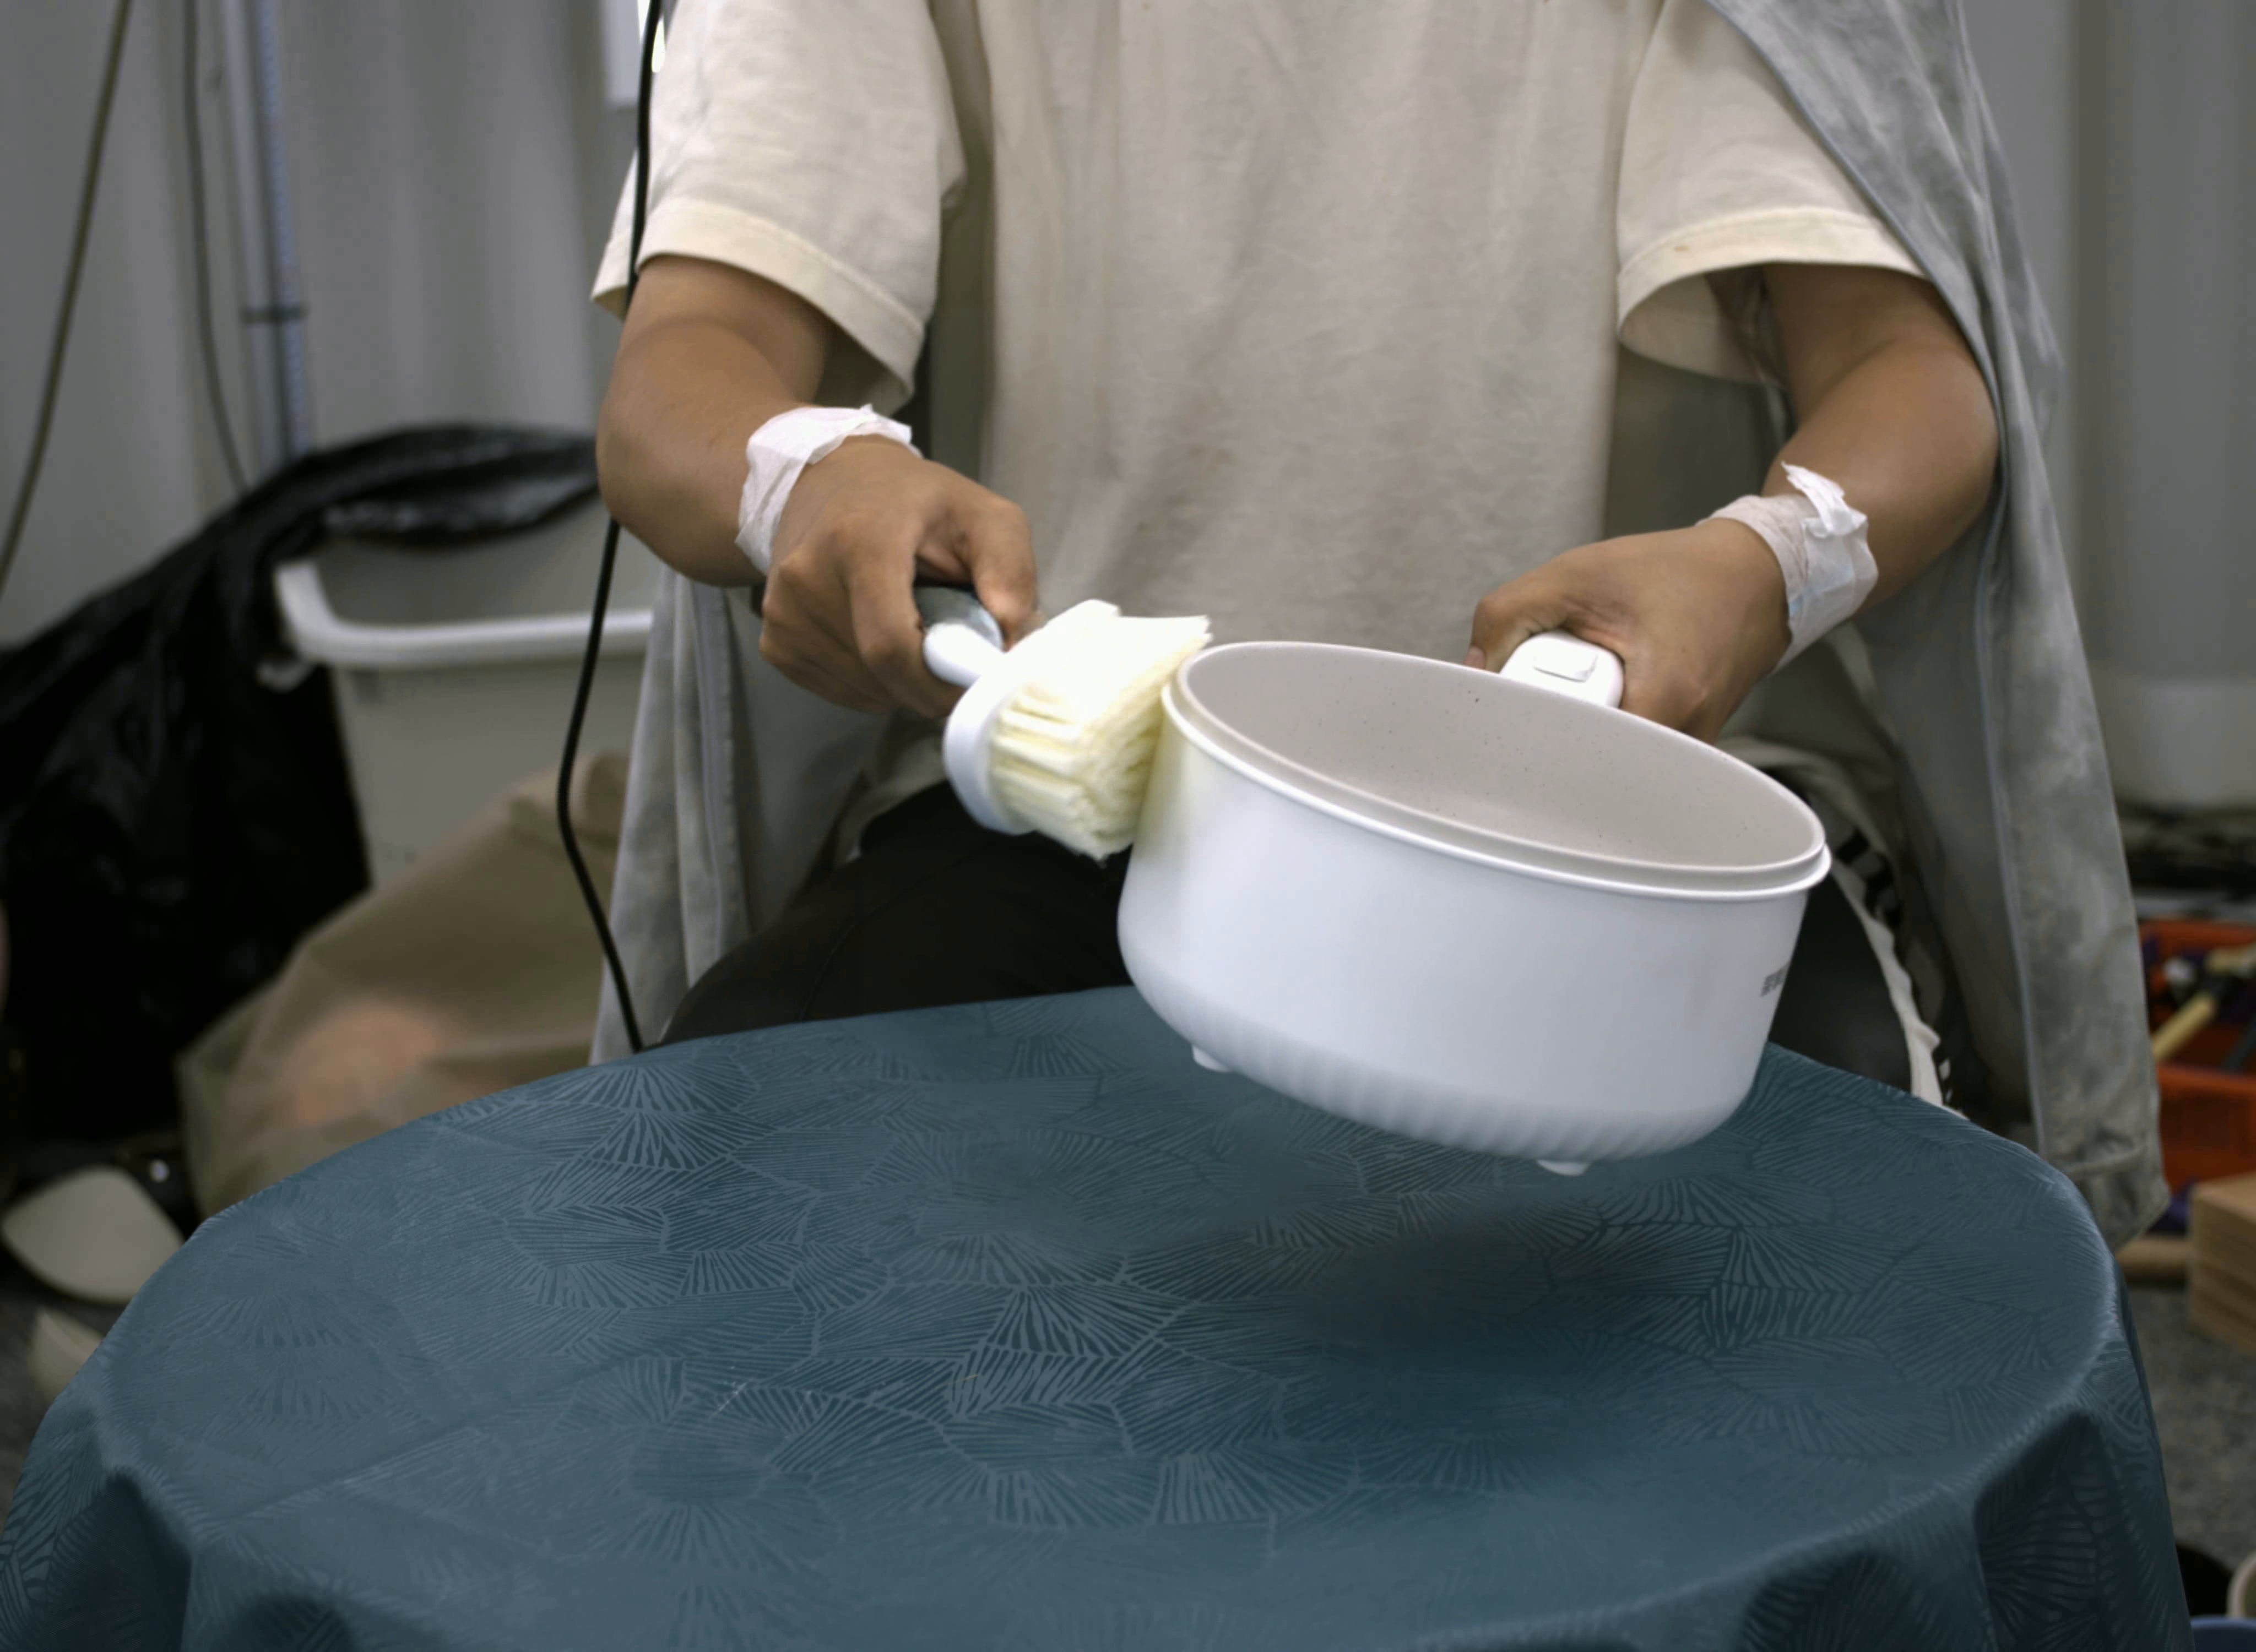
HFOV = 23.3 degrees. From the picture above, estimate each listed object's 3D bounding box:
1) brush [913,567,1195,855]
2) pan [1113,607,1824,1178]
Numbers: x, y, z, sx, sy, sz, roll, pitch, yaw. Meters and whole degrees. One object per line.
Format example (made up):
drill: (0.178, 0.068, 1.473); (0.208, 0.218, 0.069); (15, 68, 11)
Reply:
brush: (-0.015, -0.047, 1.698); (0.083, 0.084, 0.326); (-38, 7, 5)
pan: (0.110, 0.010, 1.680); (0.201, 0.102, 0.356); (16, 15, 8)
